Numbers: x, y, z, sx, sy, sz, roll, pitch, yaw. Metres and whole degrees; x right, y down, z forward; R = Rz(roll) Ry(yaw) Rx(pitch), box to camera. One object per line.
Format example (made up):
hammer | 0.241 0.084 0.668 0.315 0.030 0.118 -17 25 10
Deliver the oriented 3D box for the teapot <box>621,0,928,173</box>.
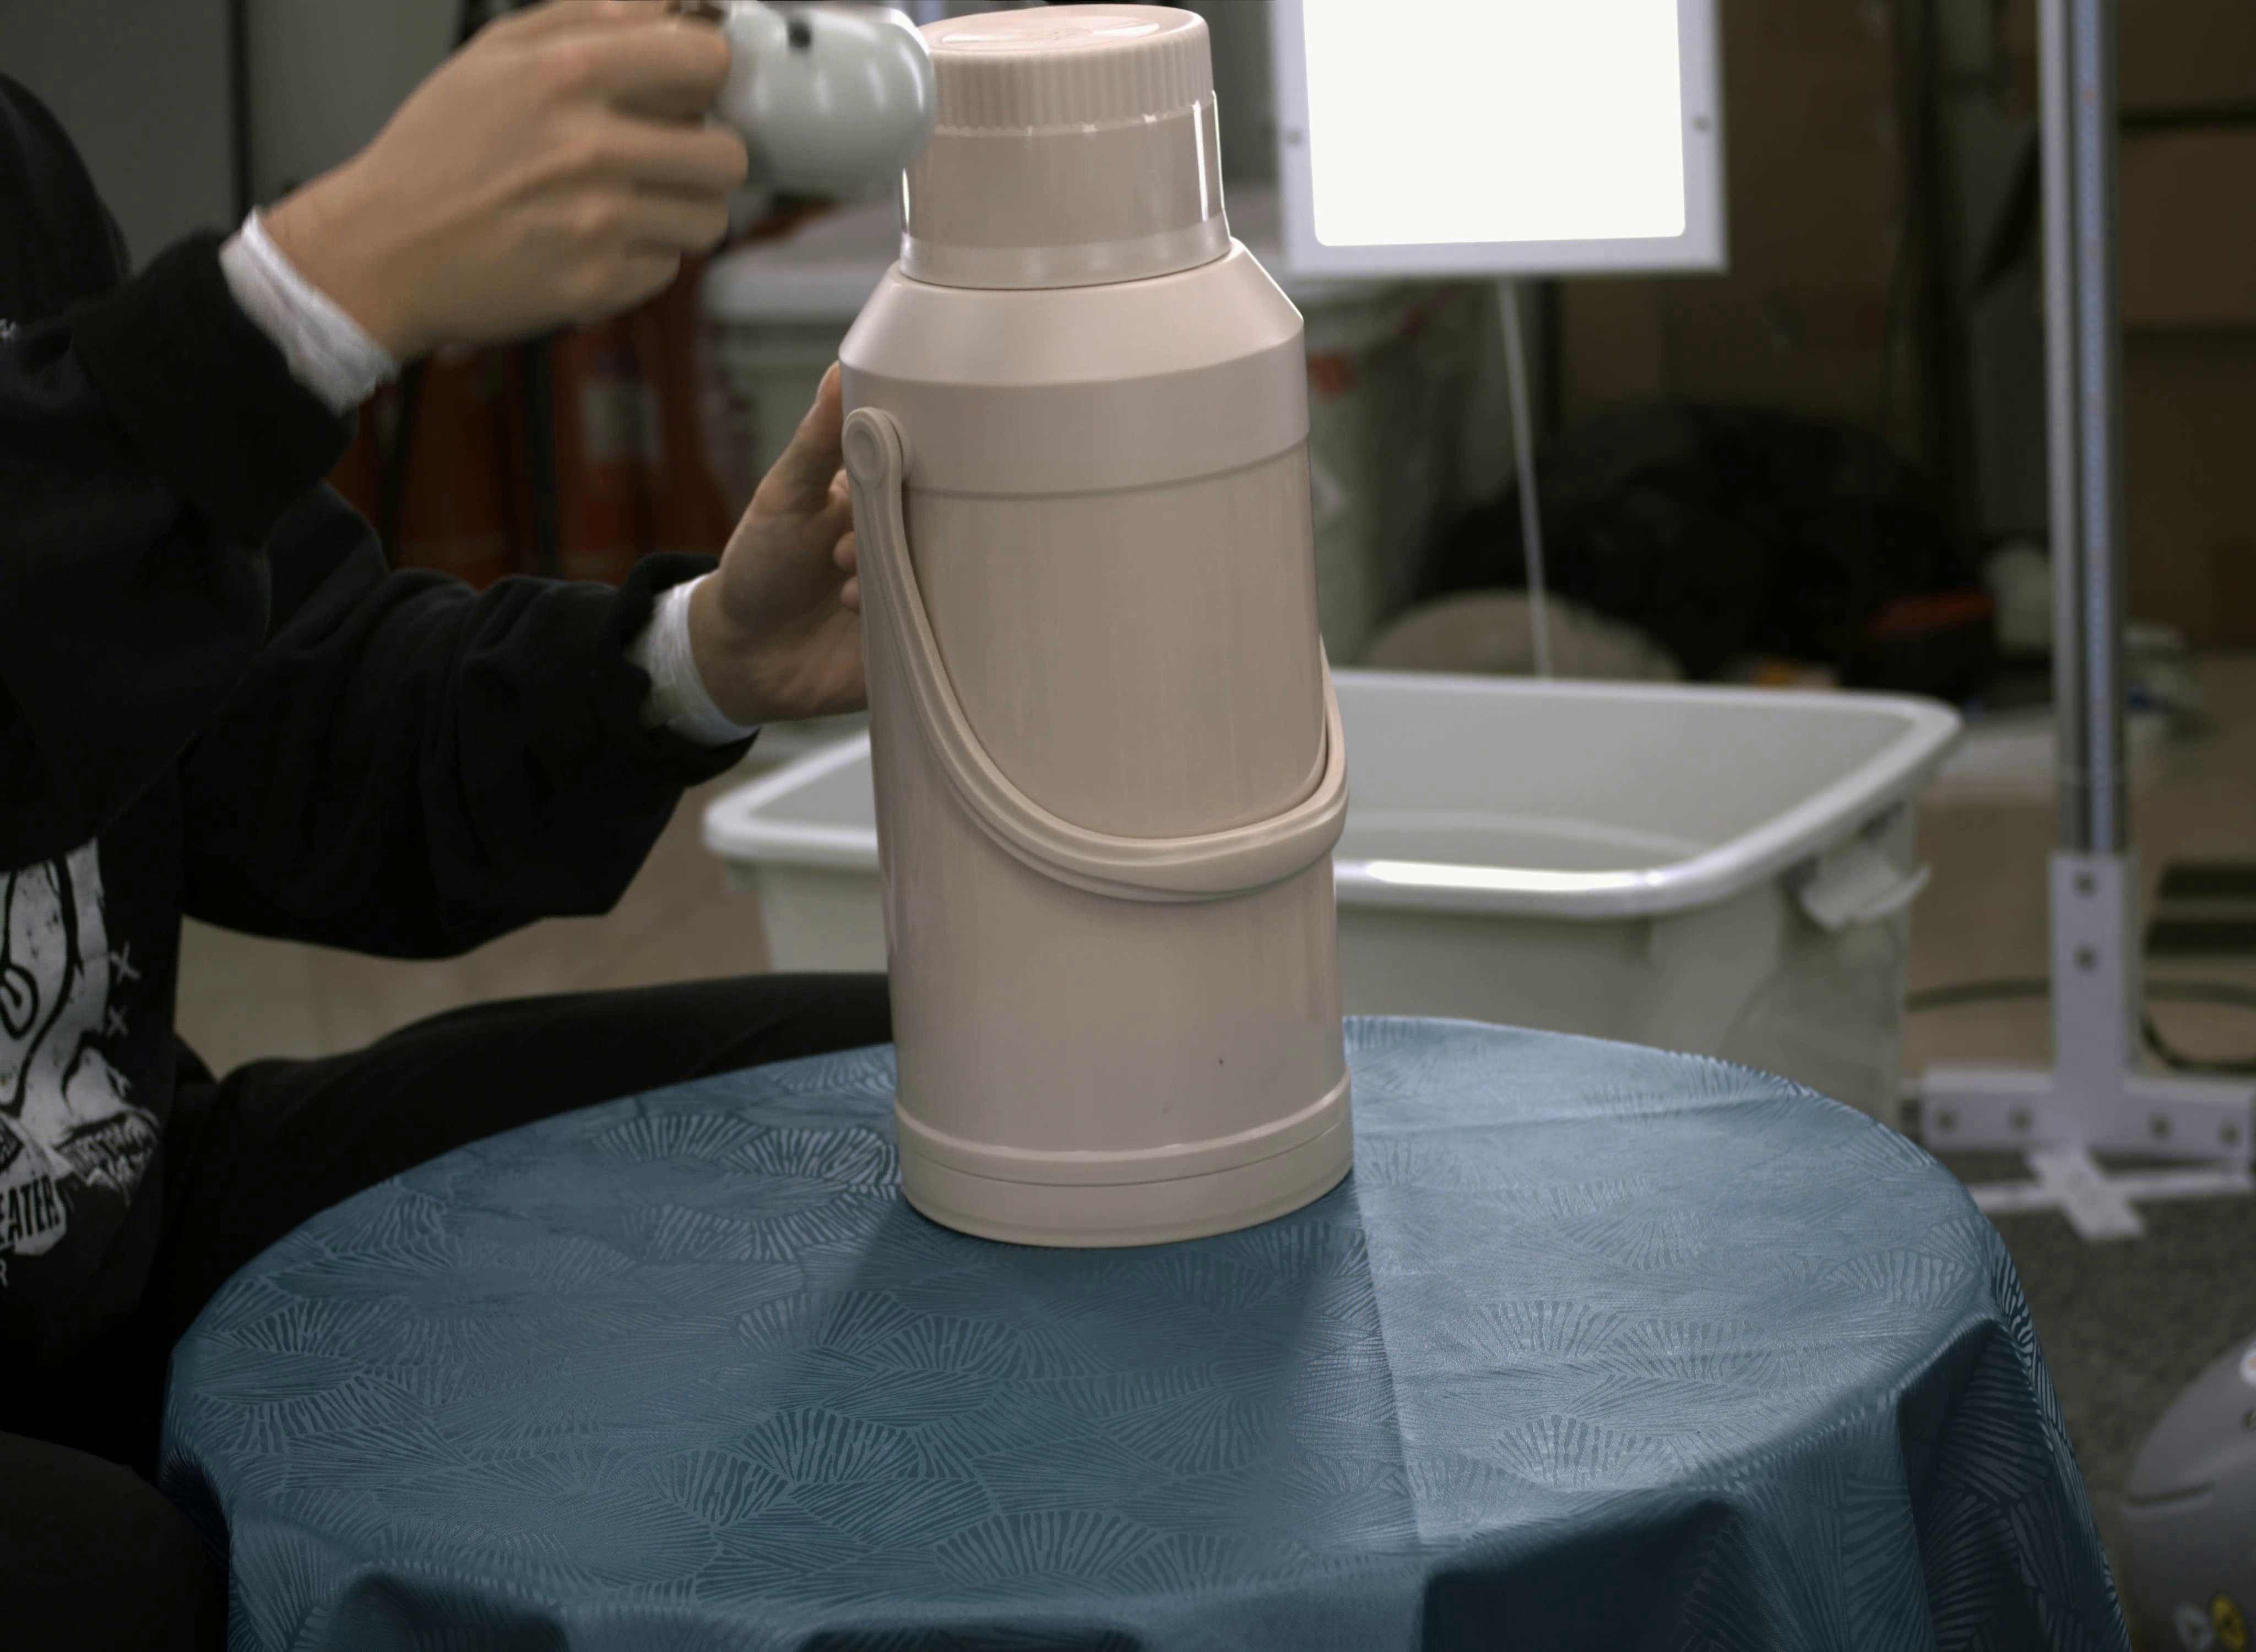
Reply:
teapot | -0.112 -0.233 1.691 0.093 0.060 0.125 16 11 33

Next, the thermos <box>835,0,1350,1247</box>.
thermos | -0.022 -0.073 1.874 0.171 0.408 0.211 -17 21 -35
